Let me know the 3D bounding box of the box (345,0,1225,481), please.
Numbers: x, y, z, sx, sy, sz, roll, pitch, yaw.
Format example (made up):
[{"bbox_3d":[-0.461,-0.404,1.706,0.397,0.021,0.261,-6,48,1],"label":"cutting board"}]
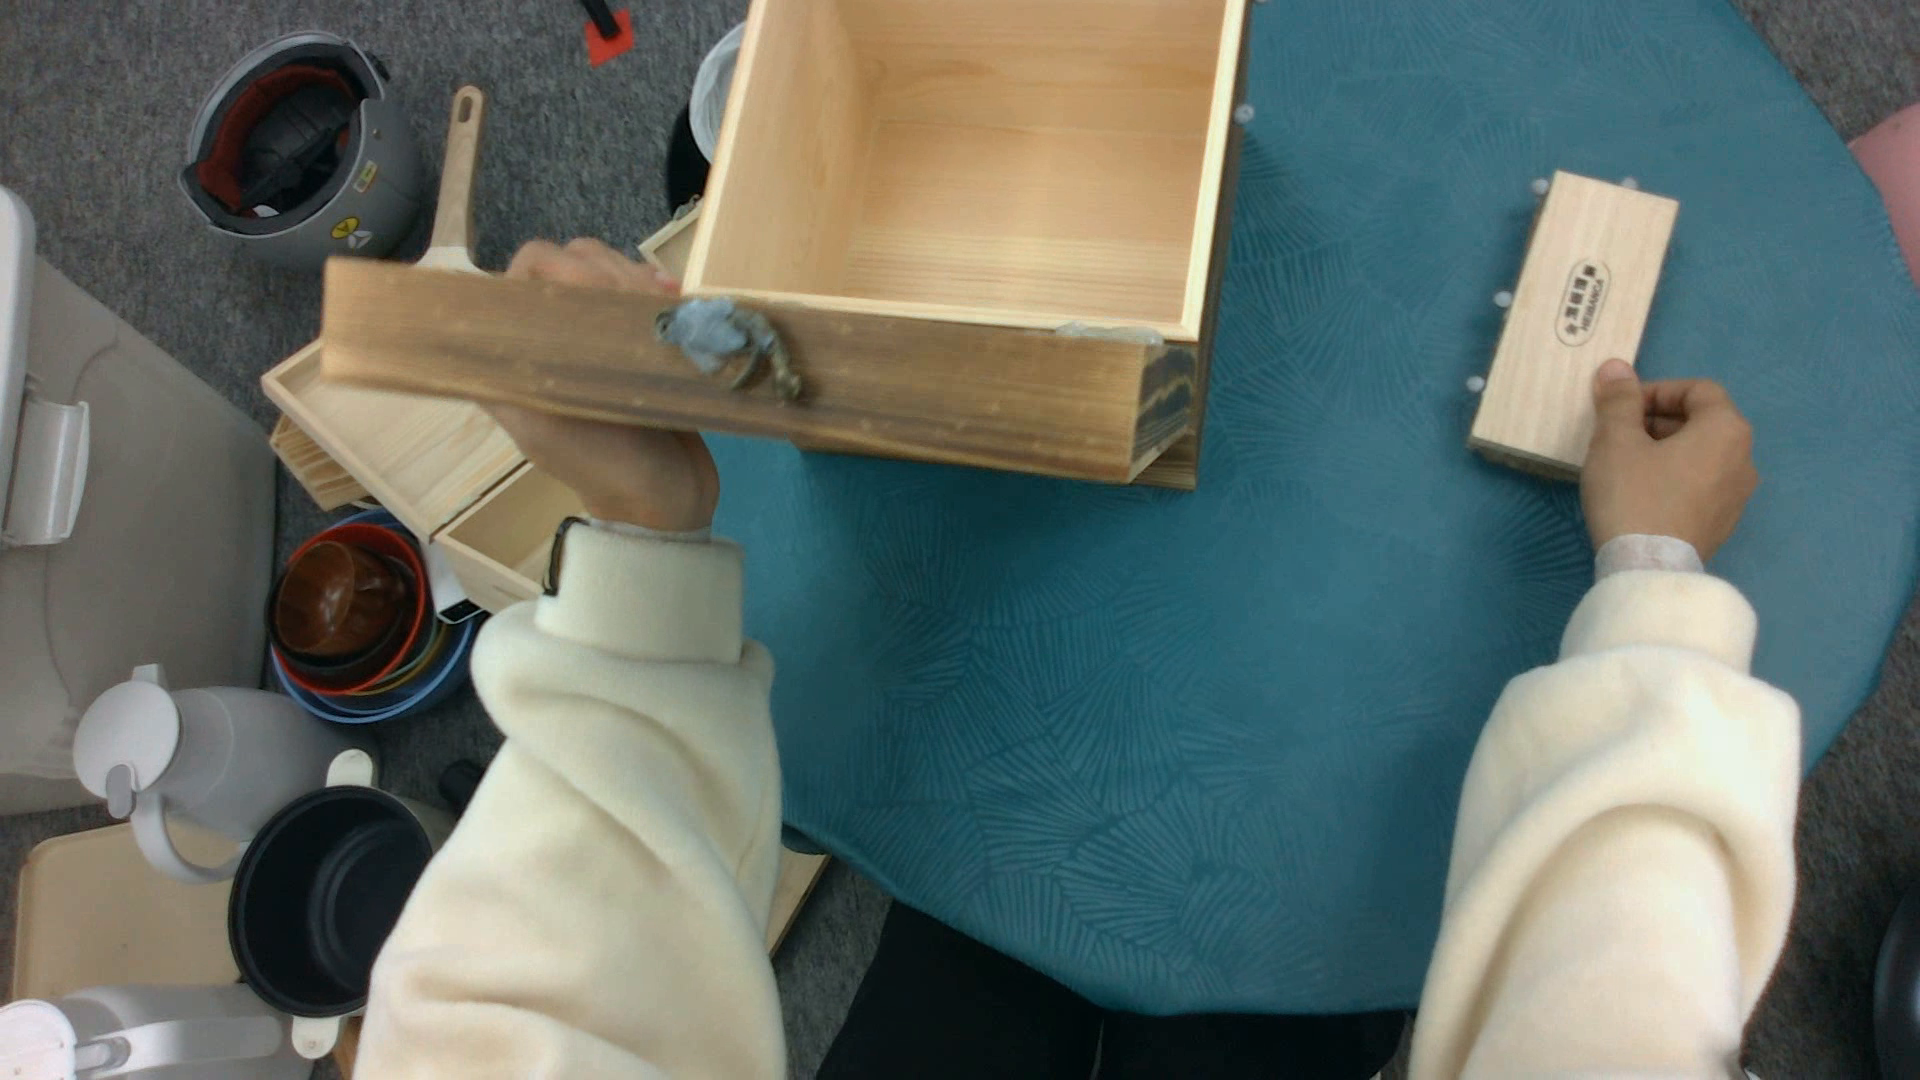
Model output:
[{"bbox_3d":[-0.009,-0.137,0.517,0.208,0.374,0.323,6,74,10],"label":"box"}]

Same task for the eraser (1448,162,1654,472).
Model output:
[{"bbox_3d":[0.272,-0.103,0.637,0.057,0.029,0.139,19,77,11],"label":"eraser"}]
